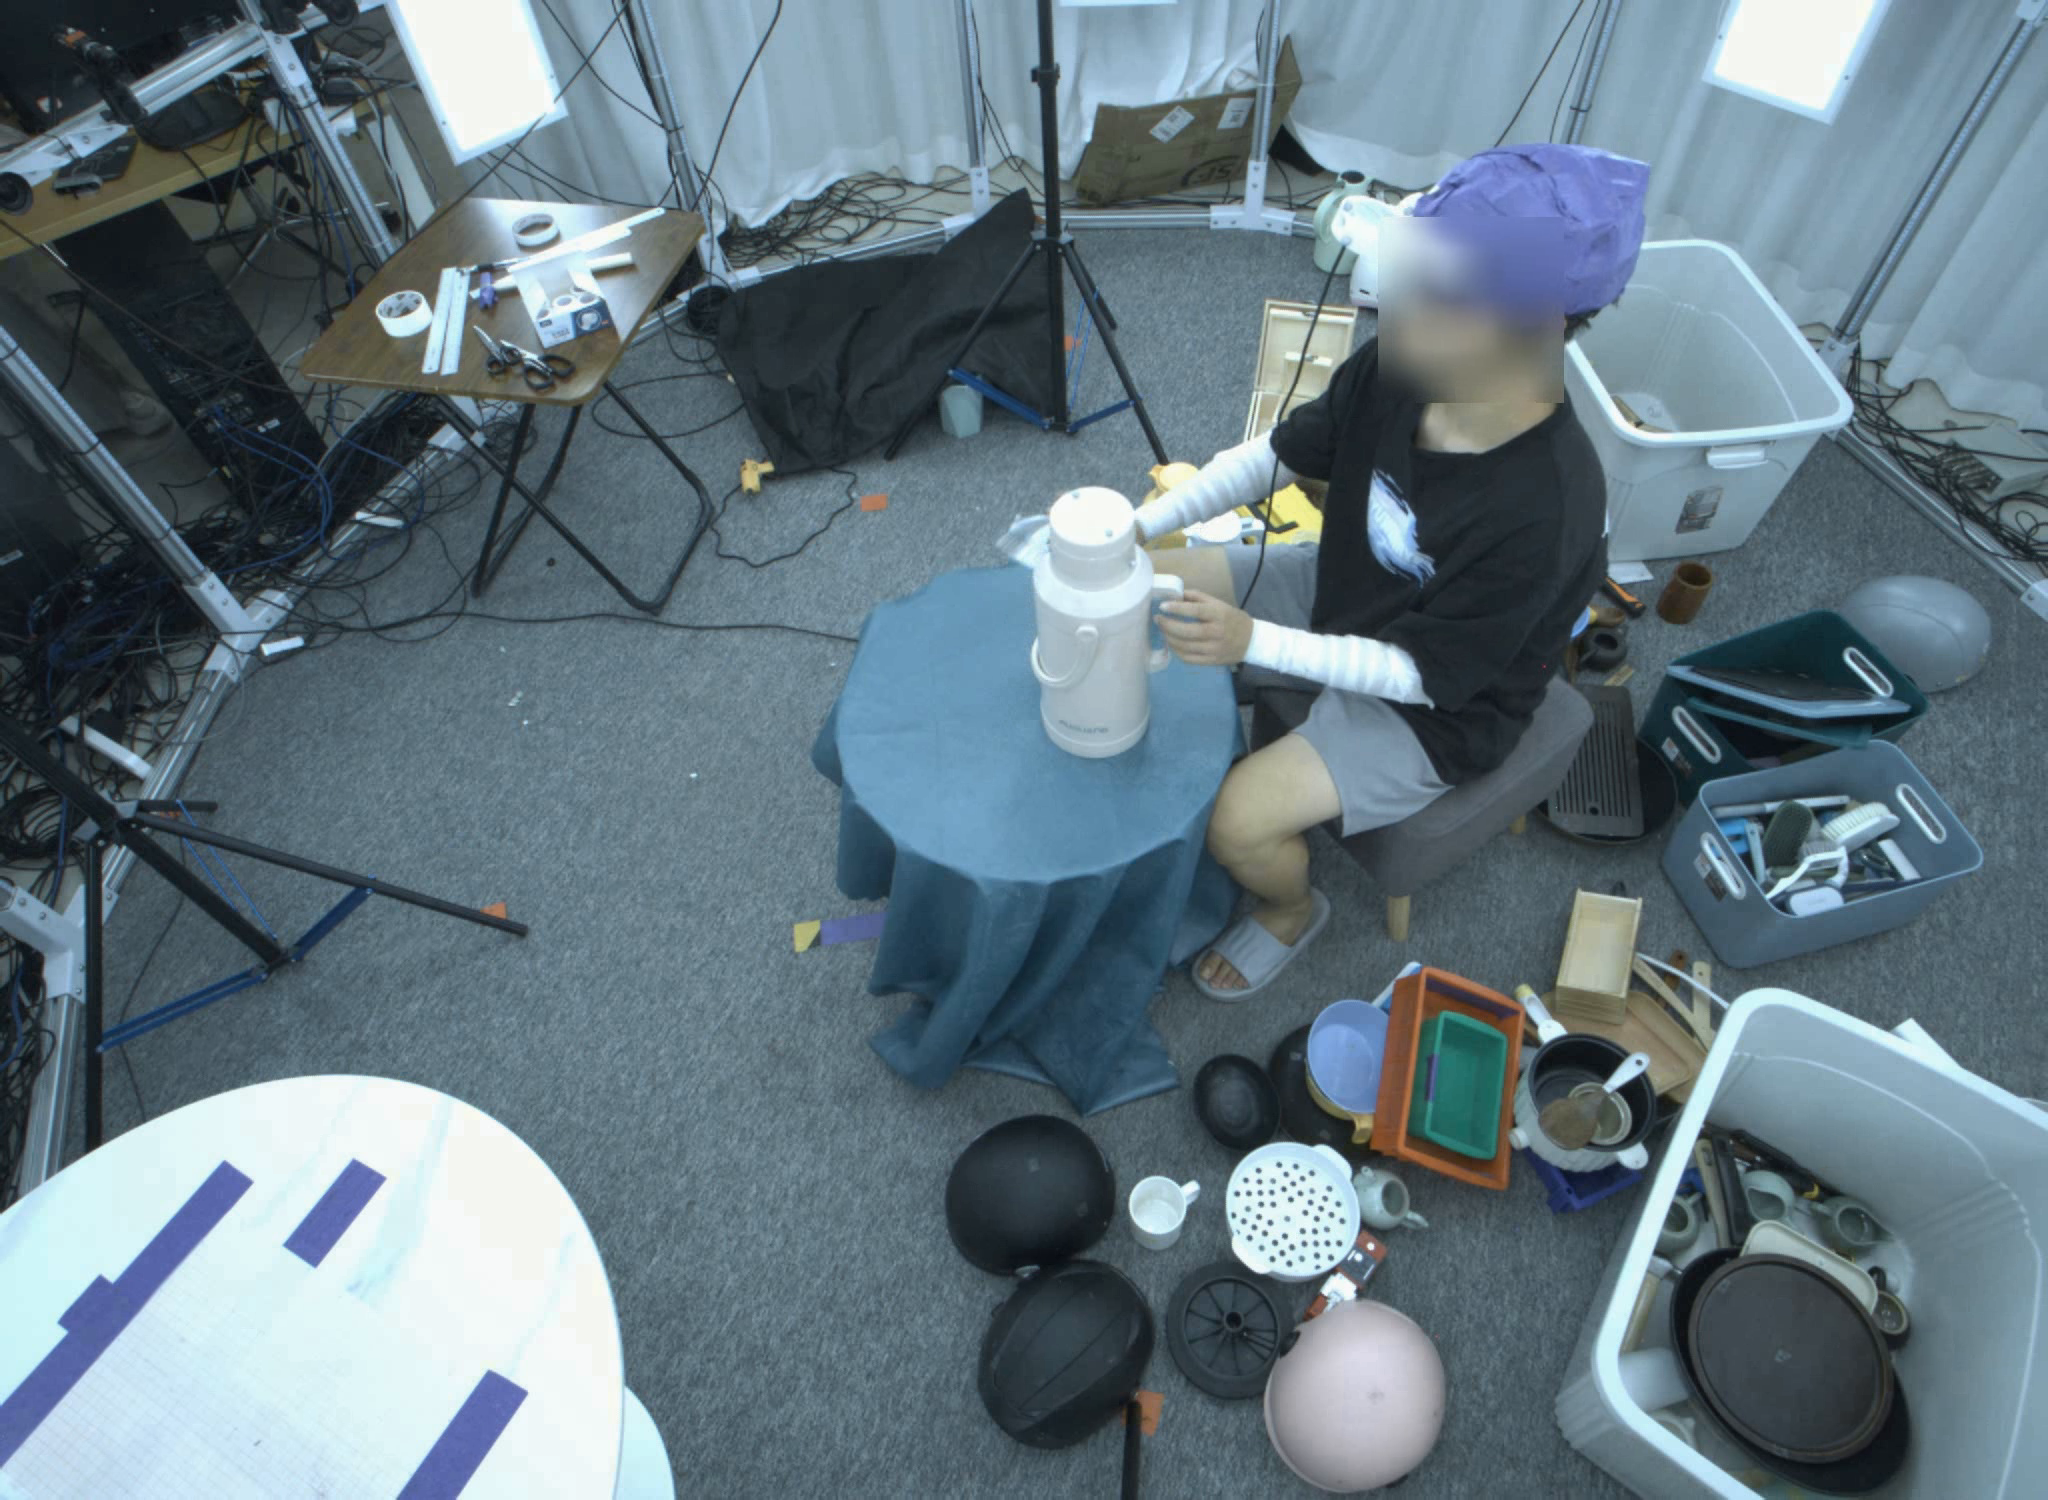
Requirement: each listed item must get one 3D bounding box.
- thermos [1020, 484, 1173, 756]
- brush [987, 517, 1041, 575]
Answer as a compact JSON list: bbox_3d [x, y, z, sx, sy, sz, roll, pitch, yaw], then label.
[{"bbox_3d":[0.094,-0.169,1.651,0.206,0.411,0.174,3,53,6],"label":"thermos"},{"bbox_3d":[0.031,-0.290,1.767,0.060,0.179,0.094,27,96,57],"label":"brush"}]
